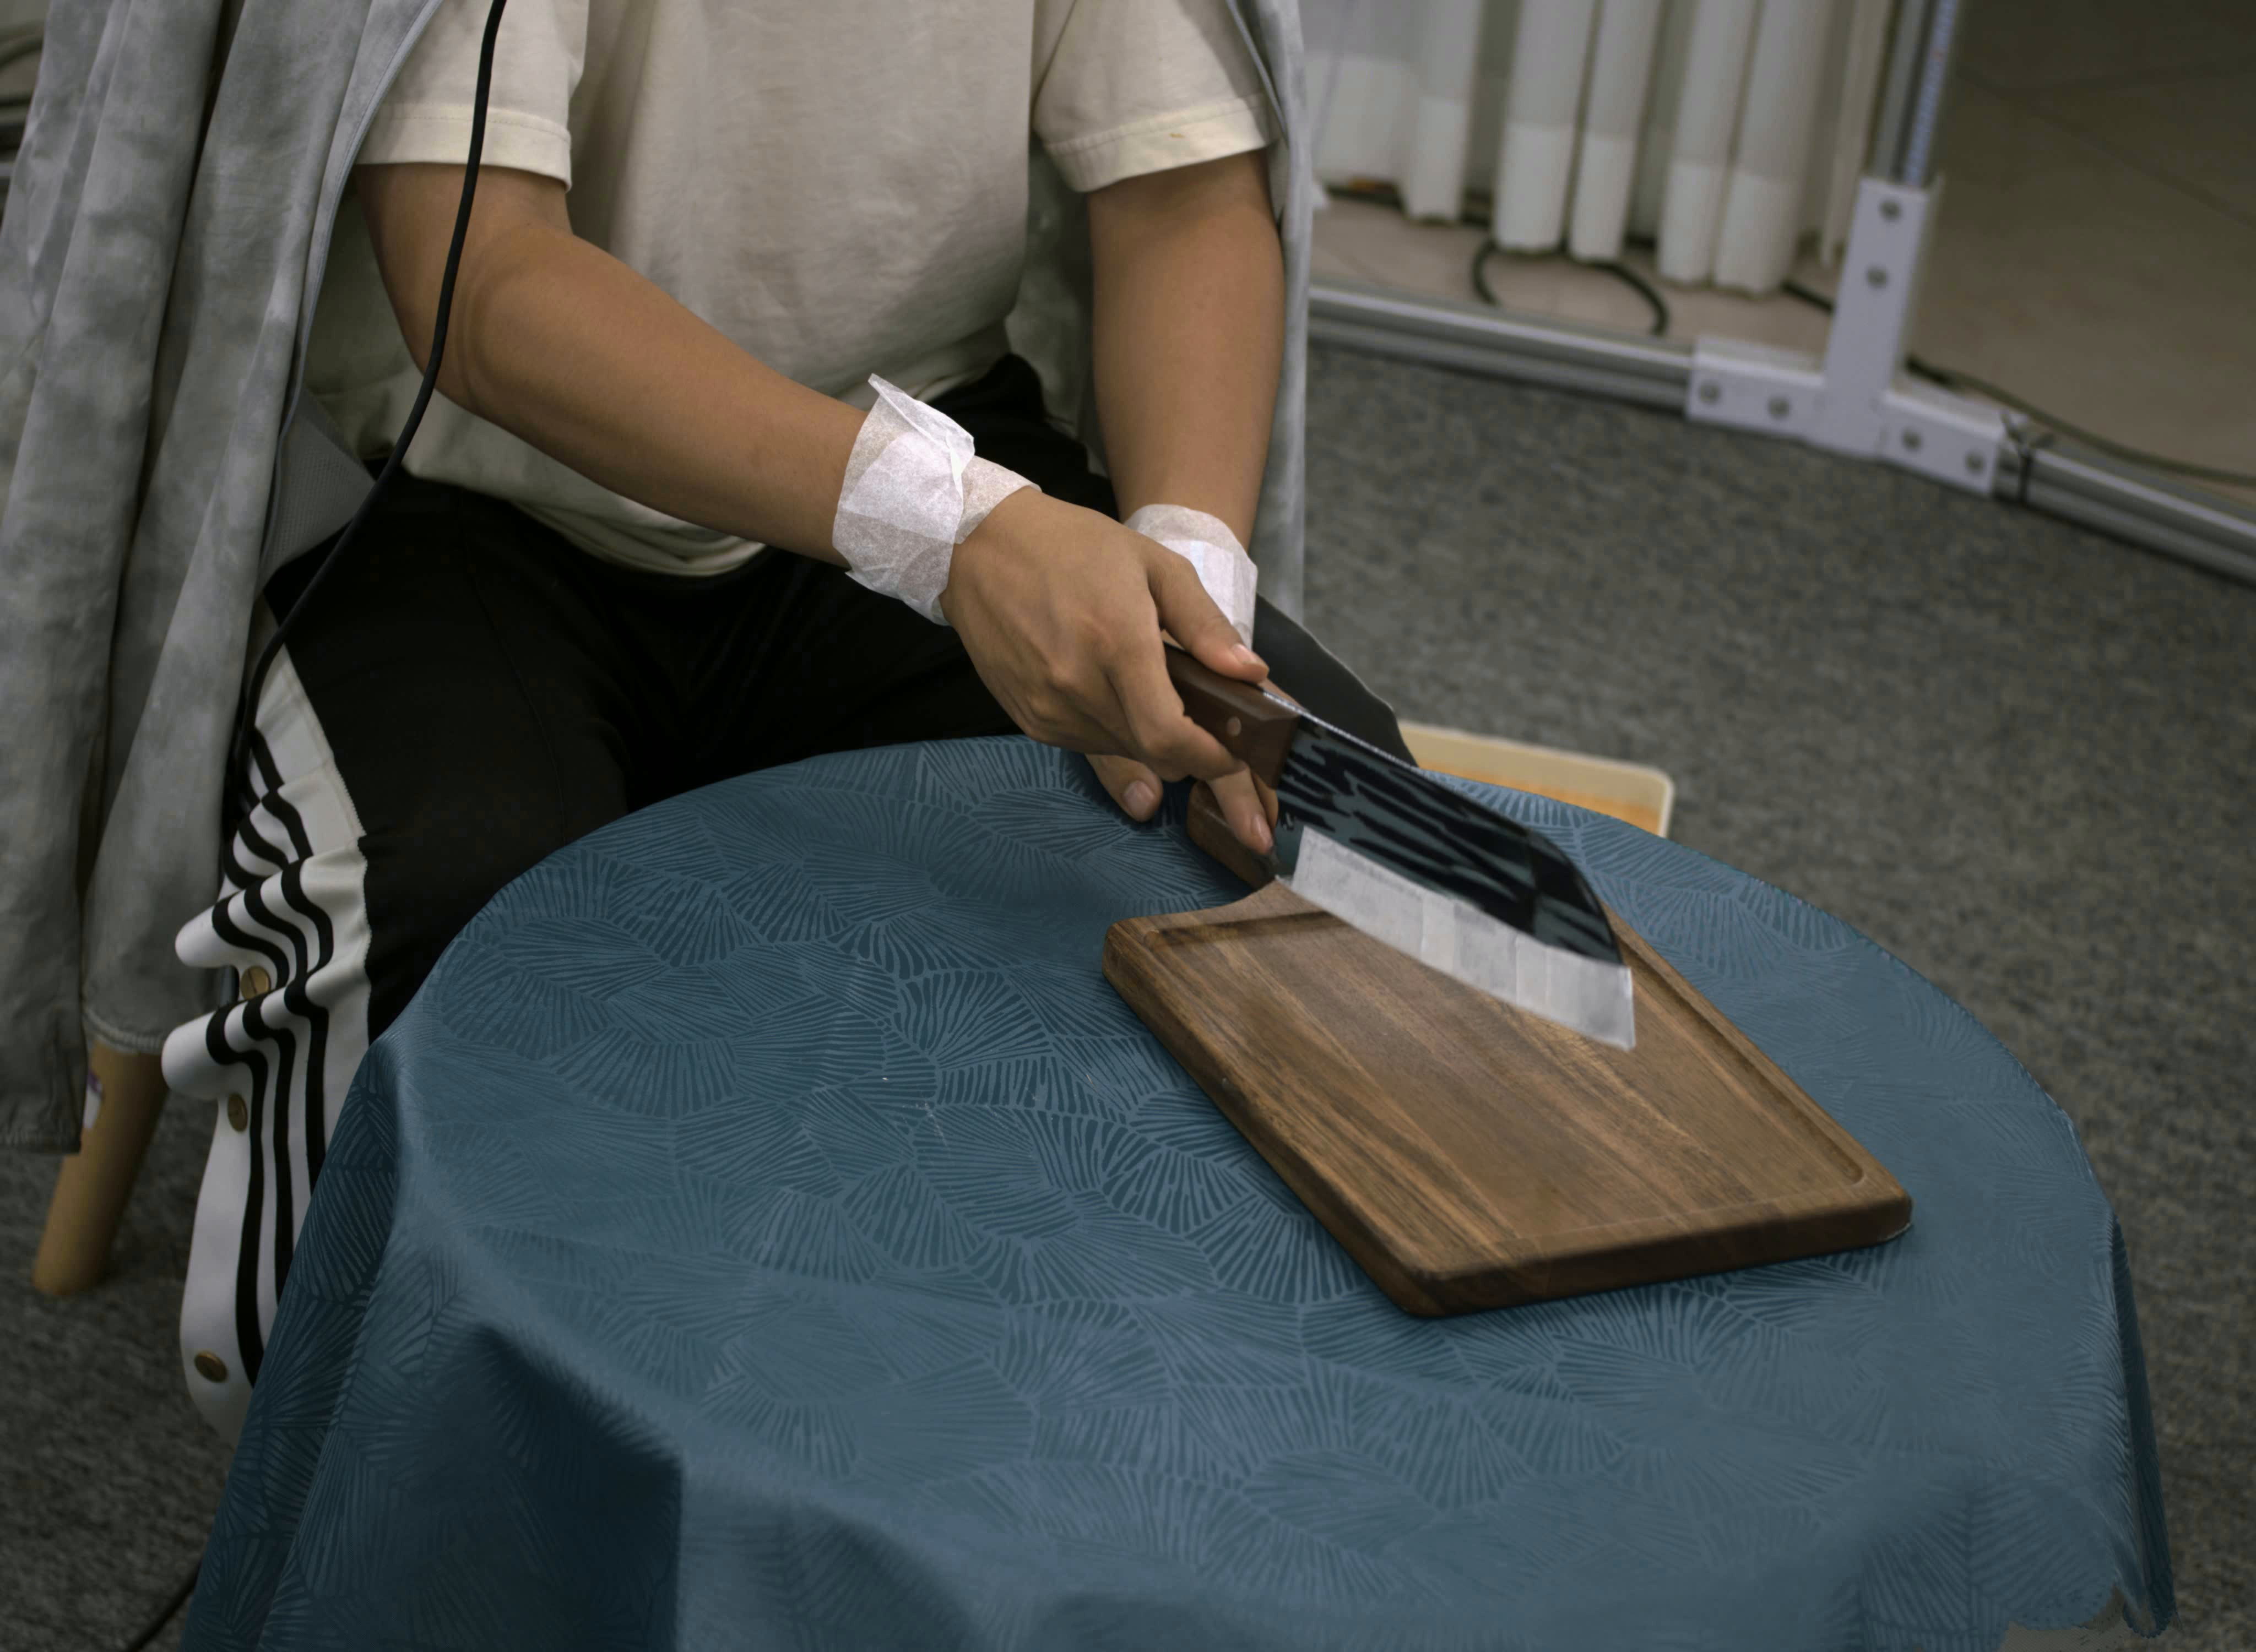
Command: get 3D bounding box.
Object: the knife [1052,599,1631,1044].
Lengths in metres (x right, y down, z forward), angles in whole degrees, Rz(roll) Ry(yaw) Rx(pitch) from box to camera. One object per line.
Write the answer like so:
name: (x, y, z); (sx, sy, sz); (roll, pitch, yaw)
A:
knife: (0.074, -0.004, 1.911); (0.024, 0.068, 0.302); (-11, 30, -43)

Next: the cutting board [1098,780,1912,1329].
cutting board: (0.108, 0.068, 1.921); (0.200, 0.023, 0.355); (-9, 30, -24)
